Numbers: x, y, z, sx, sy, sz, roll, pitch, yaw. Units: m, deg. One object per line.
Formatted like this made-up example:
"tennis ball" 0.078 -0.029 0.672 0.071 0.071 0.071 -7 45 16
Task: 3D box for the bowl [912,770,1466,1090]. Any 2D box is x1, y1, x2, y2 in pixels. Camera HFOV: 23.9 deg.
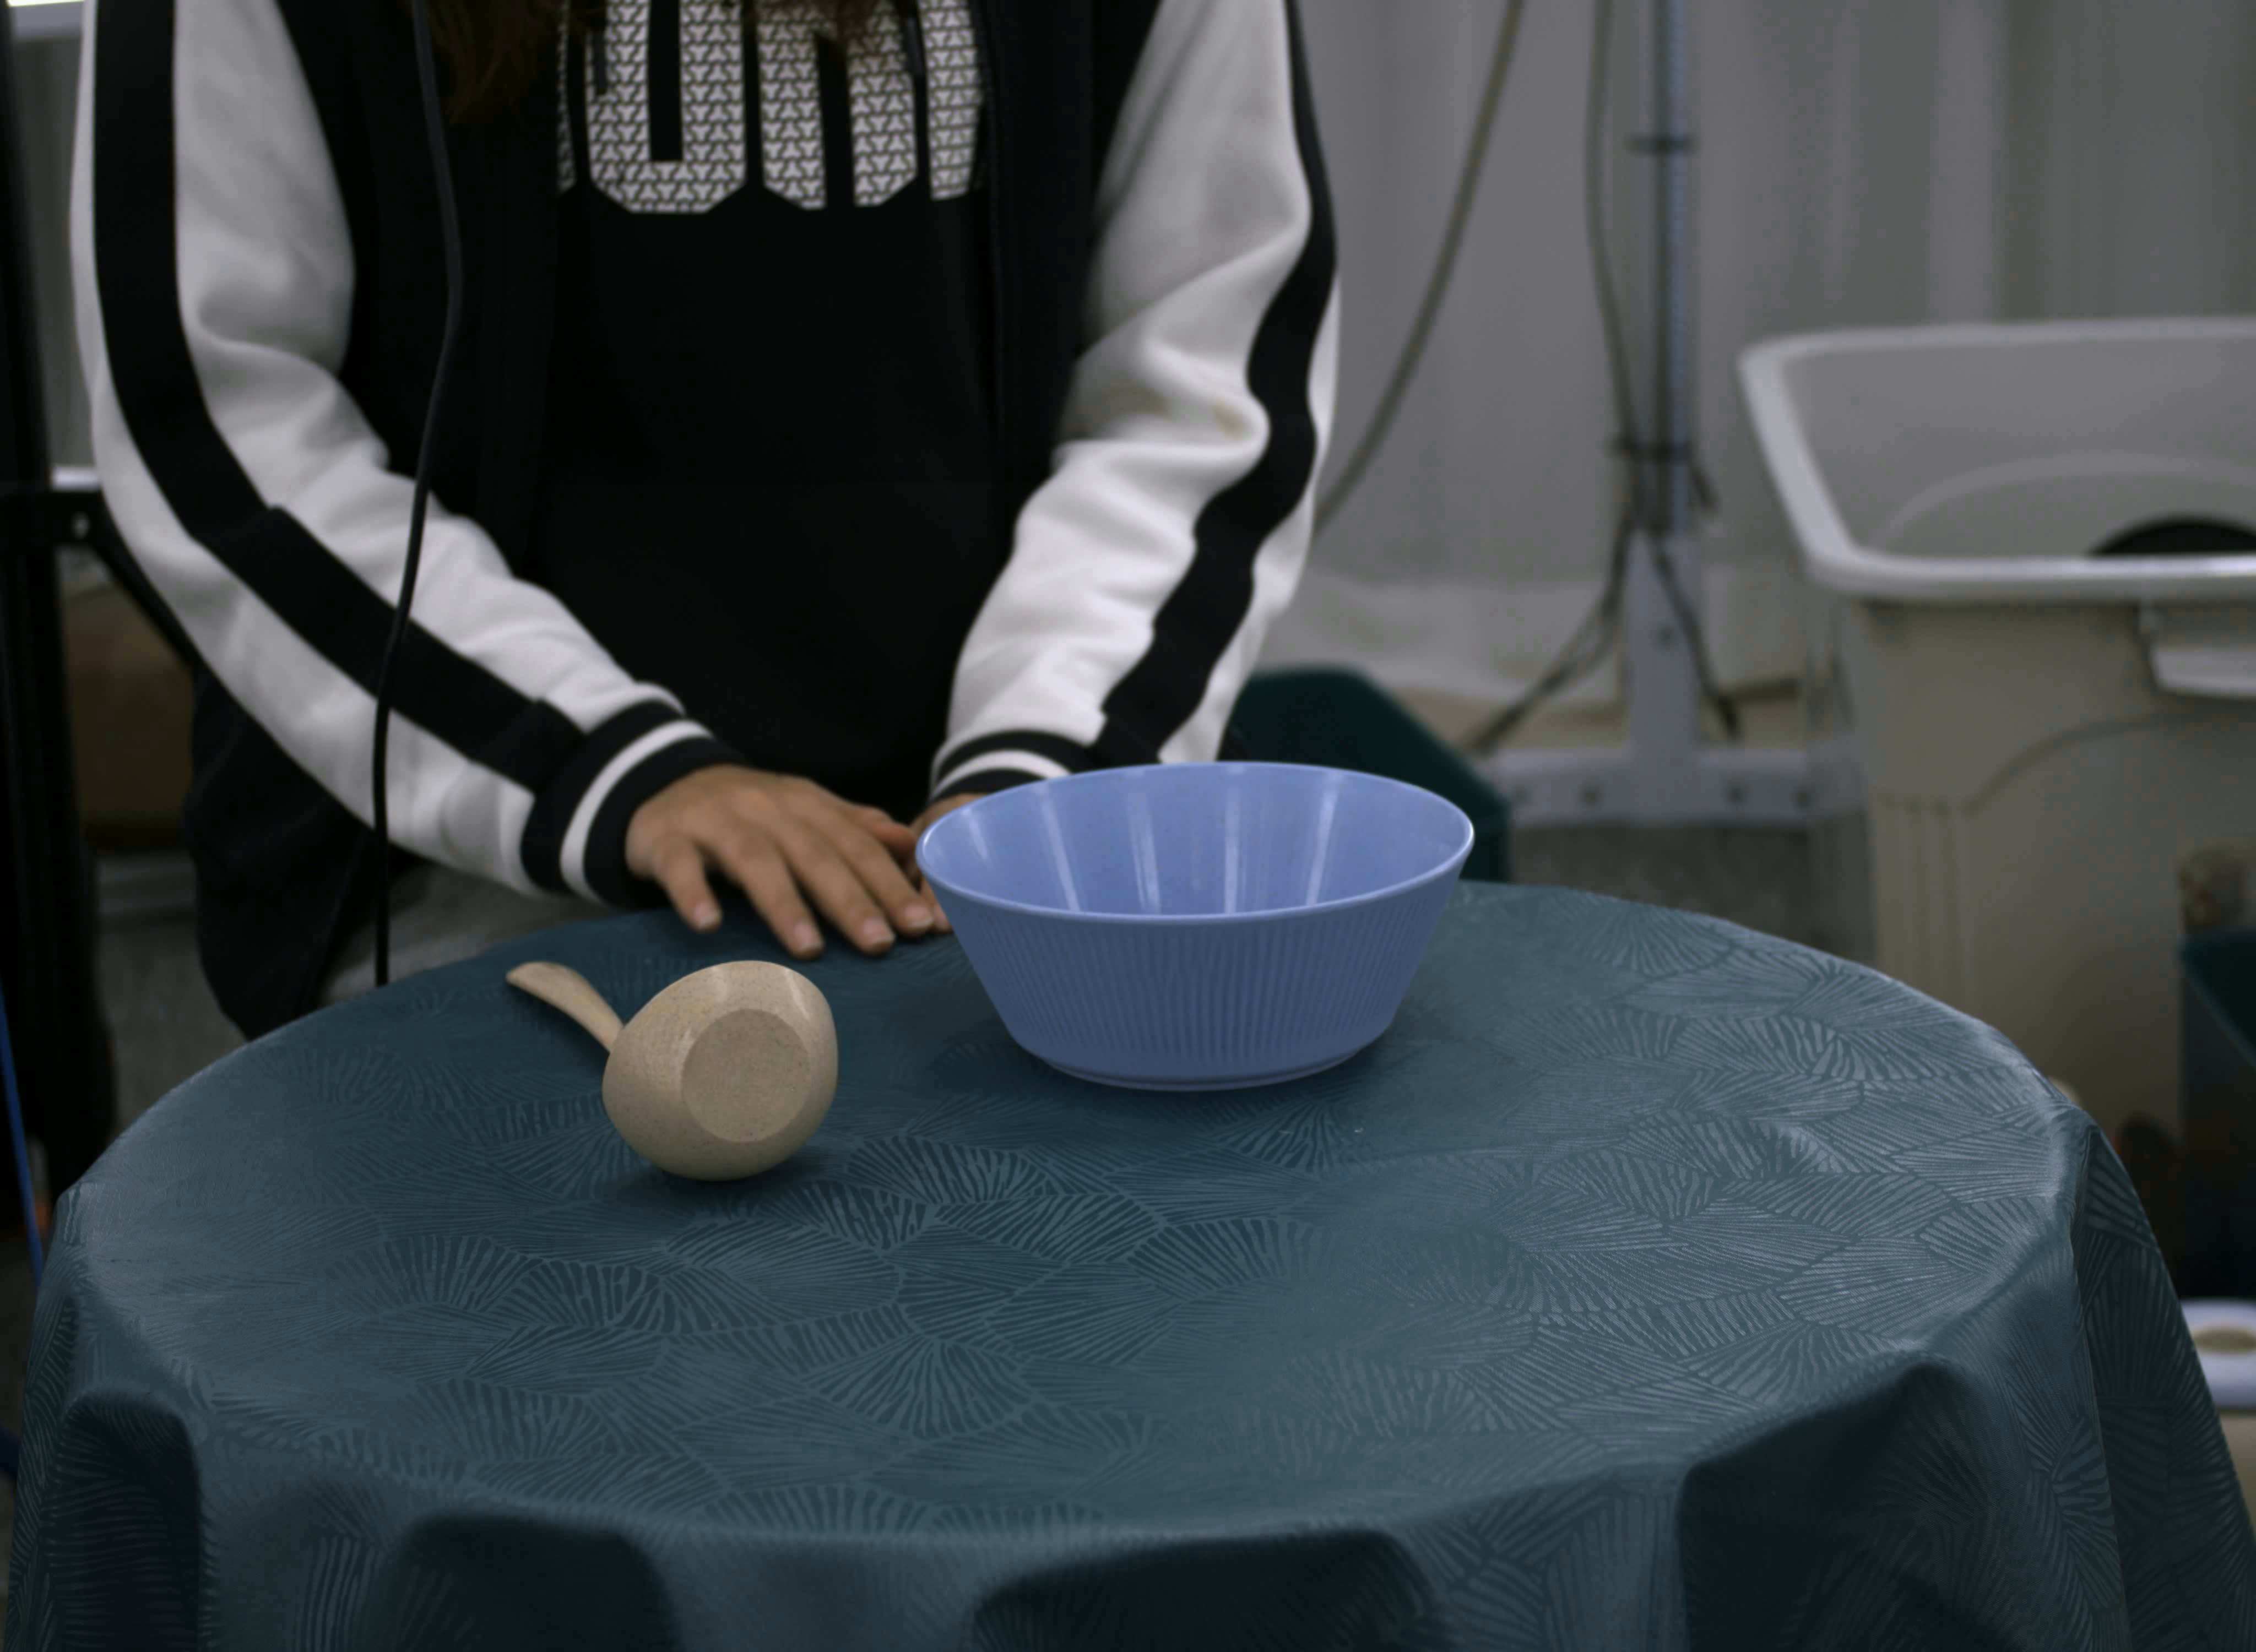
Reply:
"bowl" 0.020 0.035 1.685 0.175 0.070 0.177 -2 16 -1

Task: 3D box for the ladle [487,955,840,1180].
"ladle" -0.160 0.047 1.667 0.071 0.073 0.259 -12 18 -21
